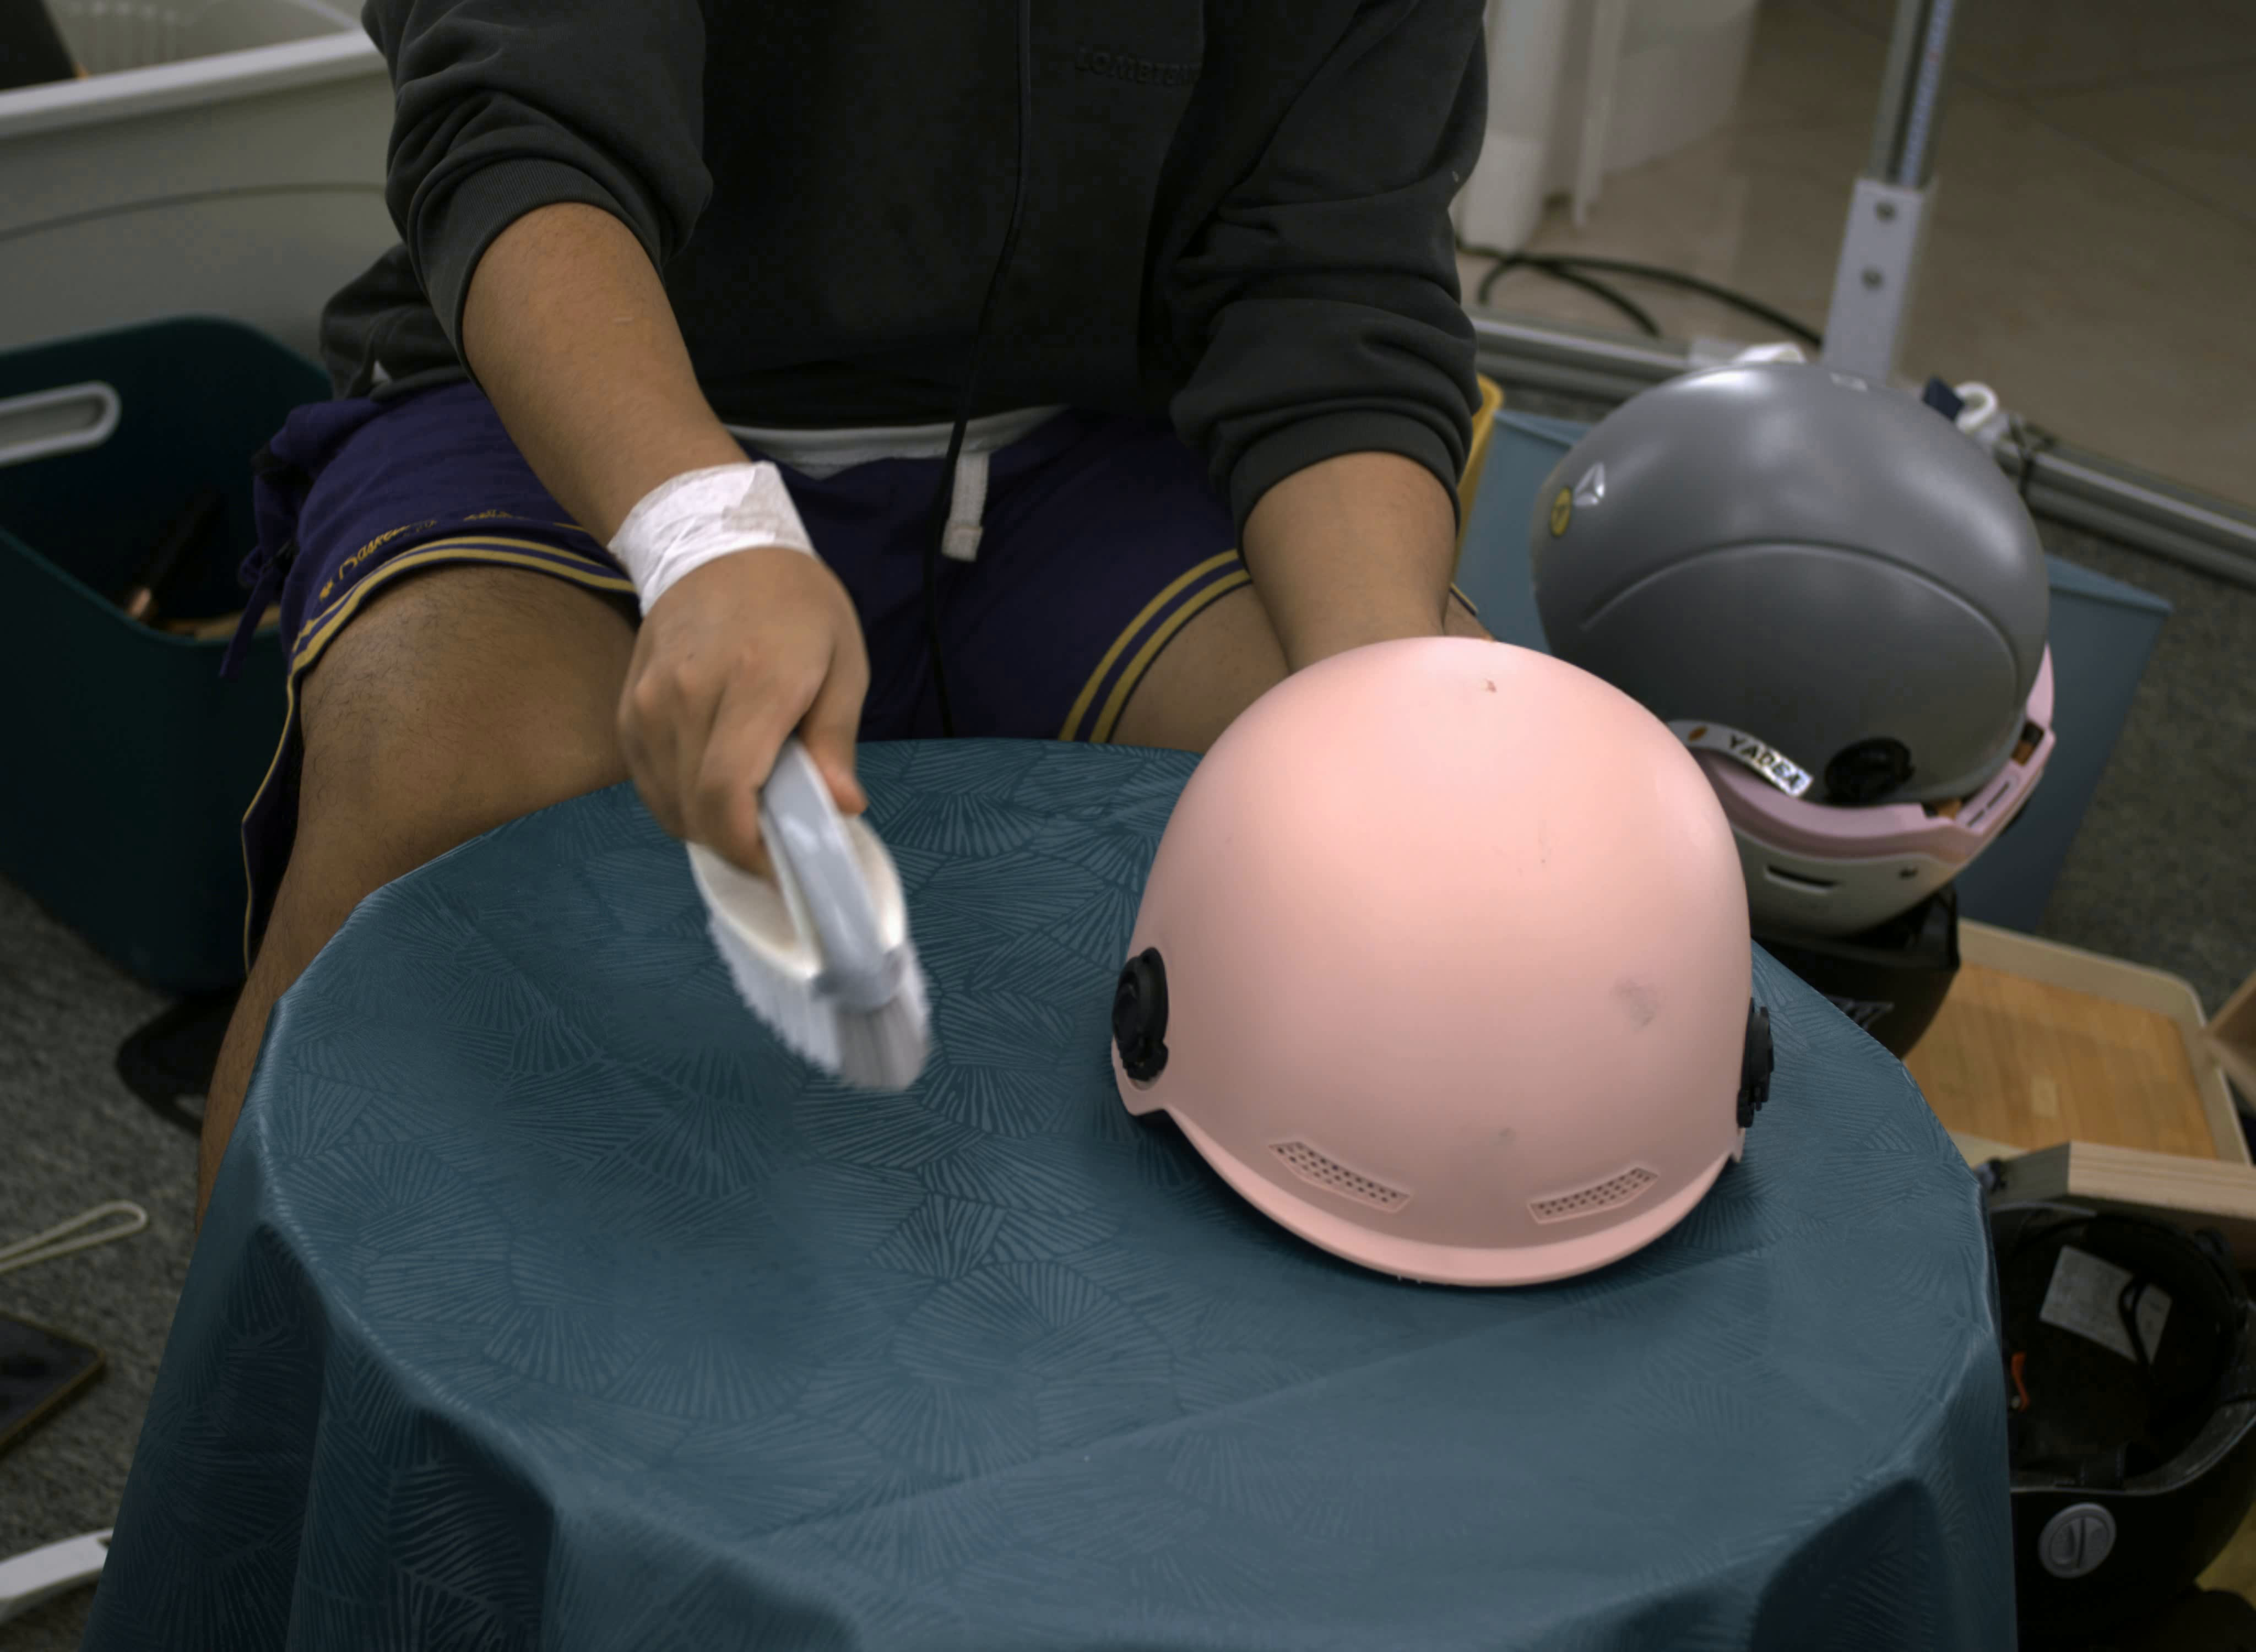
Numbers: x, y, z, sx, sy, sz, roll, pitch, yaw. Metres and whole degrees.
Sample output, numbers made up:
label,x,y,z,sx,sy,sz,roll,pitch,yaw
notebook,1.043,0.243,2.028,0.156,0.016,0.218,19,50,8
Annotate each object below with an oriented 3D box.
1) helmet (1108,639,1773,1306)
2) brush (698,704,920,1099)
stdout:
label,x,y,z,sx,sy,sz,roll,pitch,yaw
helmet,0.114,0.030,1.843,0.233,0.158,0.268,5,32,-5
brush,-0.107,0.019,1.766,0.061,0.094,0.177,-18,27,-7
